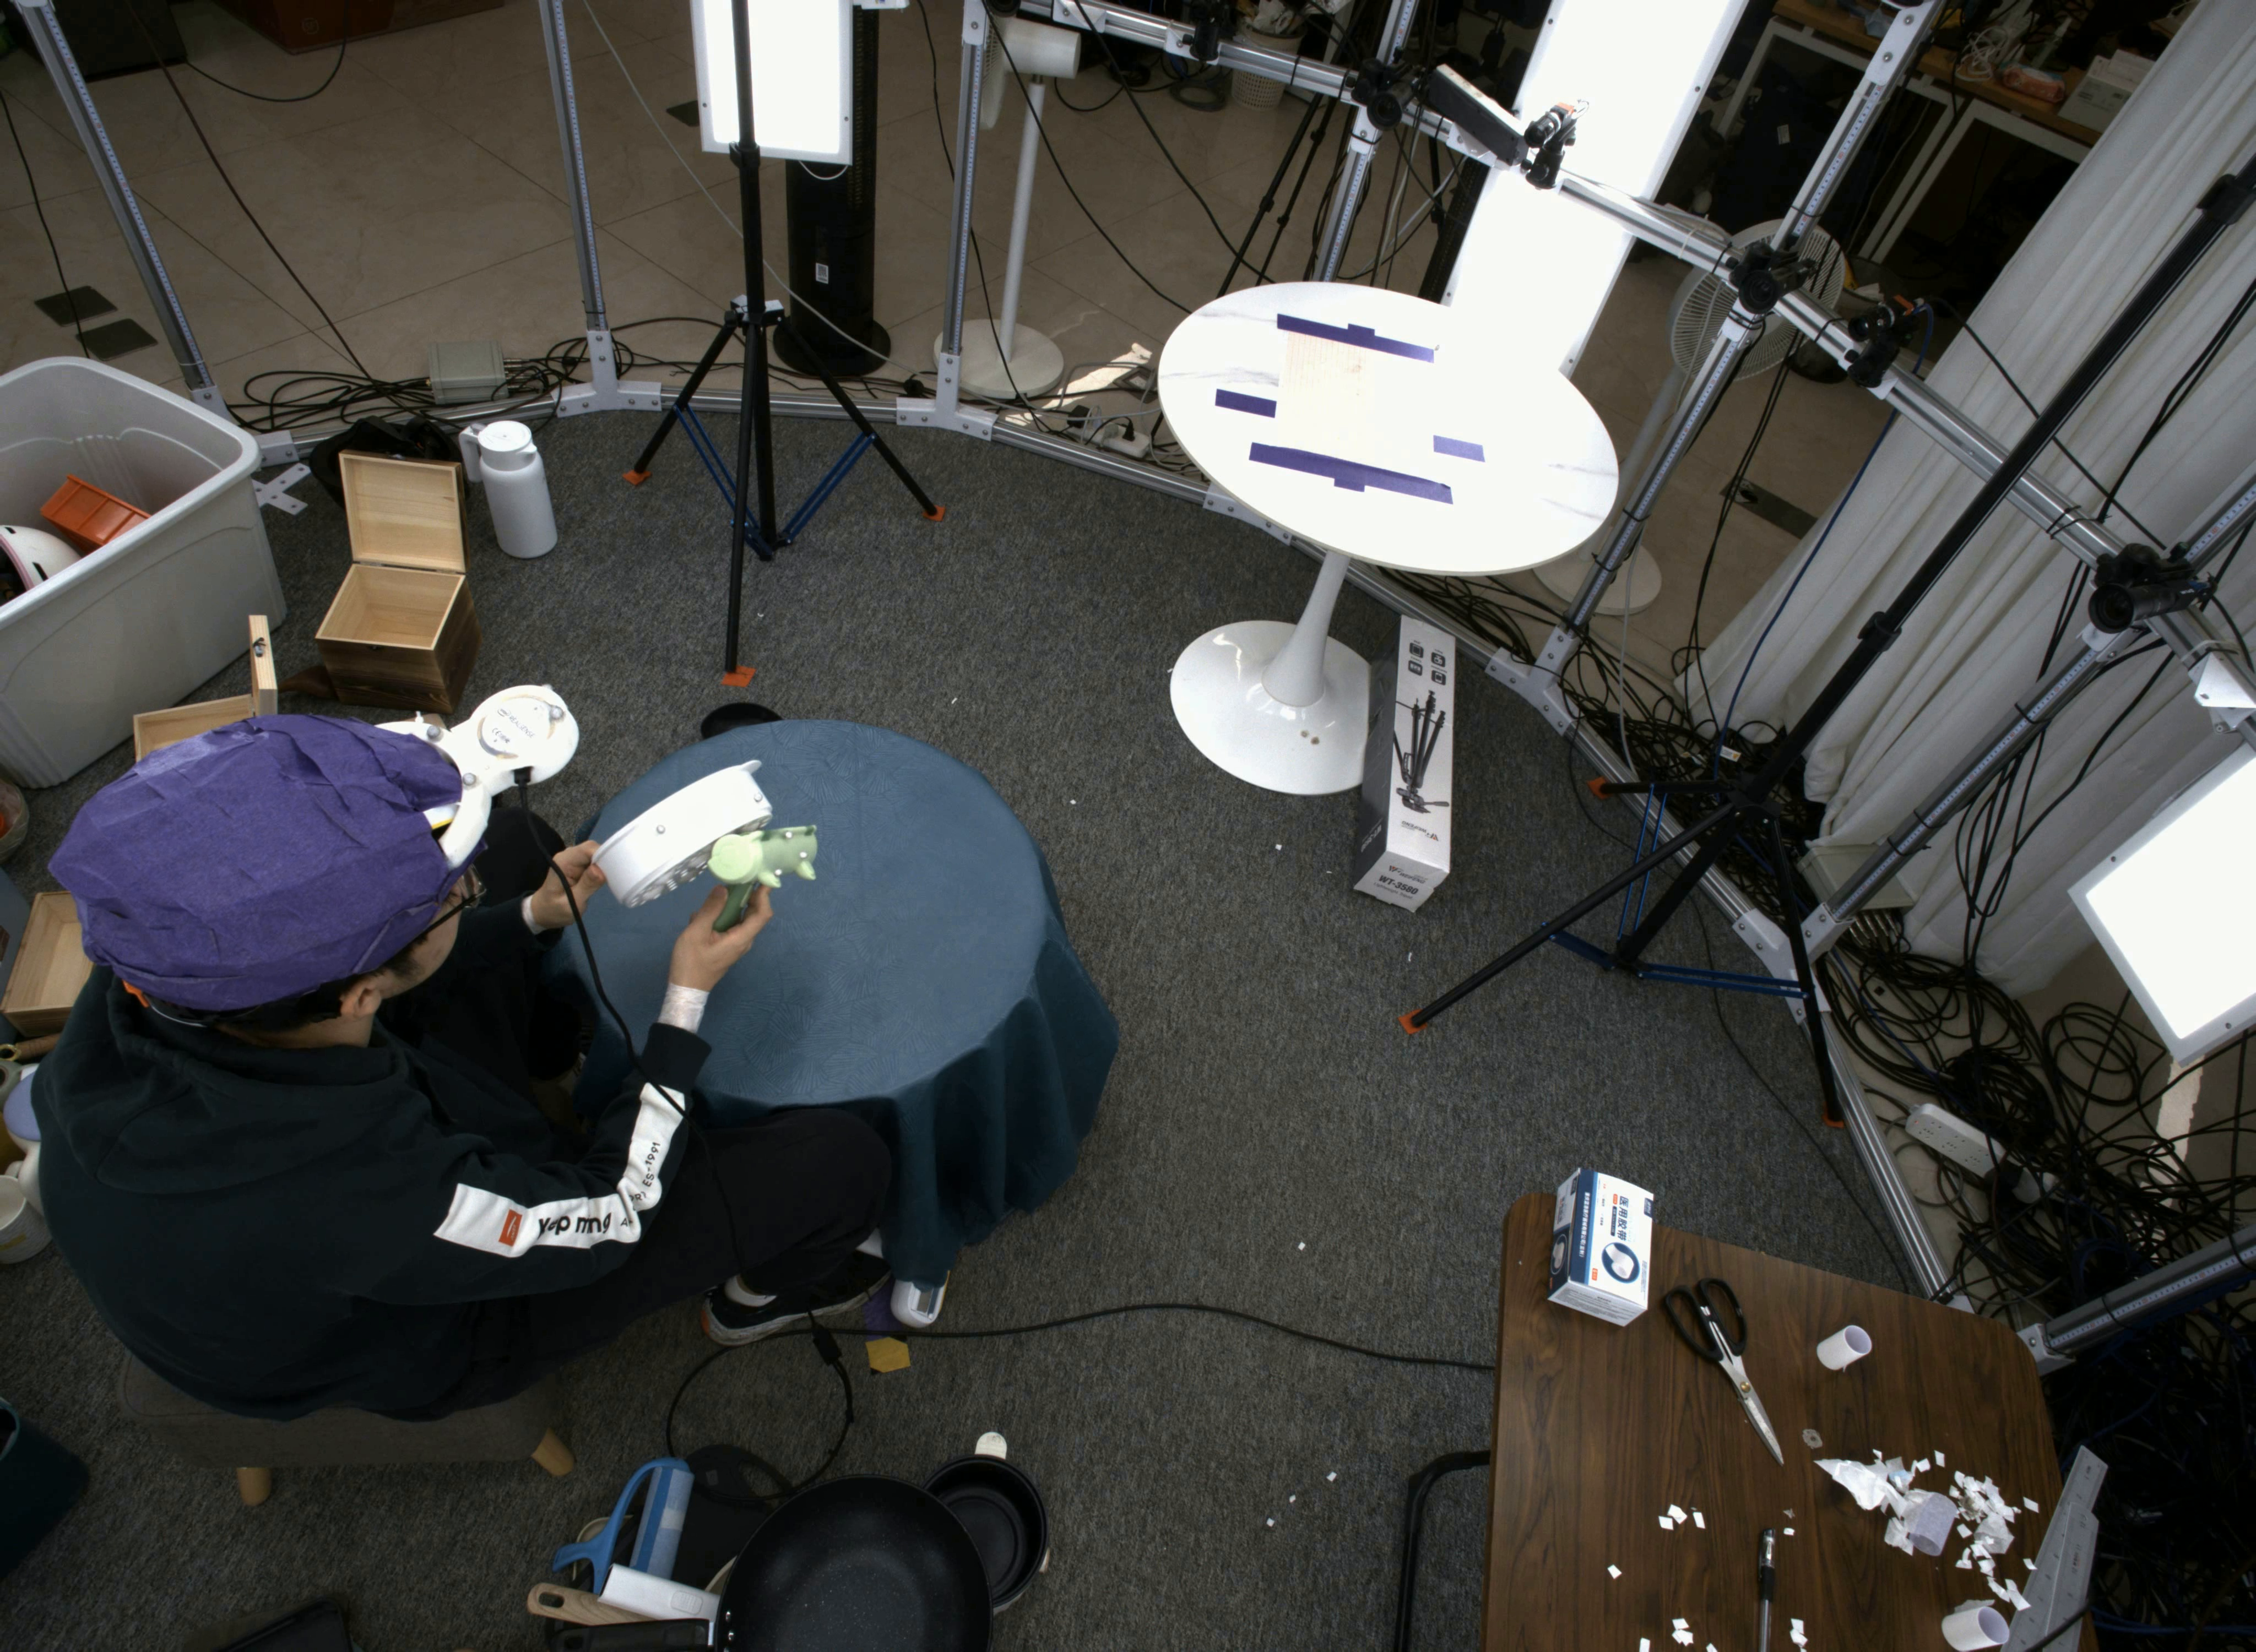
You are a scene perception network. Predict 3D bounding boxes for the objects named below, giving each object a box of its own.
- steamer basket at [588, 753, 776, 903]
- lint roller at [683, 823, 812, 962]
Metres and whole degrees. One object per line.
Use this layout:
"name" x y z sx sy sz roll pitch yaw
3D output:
"steamer basket" -0.484 0.007 1.417 0.230 0.201 0.070 -33 91 -5
"lint roller" -0.422 0.079 1.429 0.081 0.198 0.185 27 94 3
